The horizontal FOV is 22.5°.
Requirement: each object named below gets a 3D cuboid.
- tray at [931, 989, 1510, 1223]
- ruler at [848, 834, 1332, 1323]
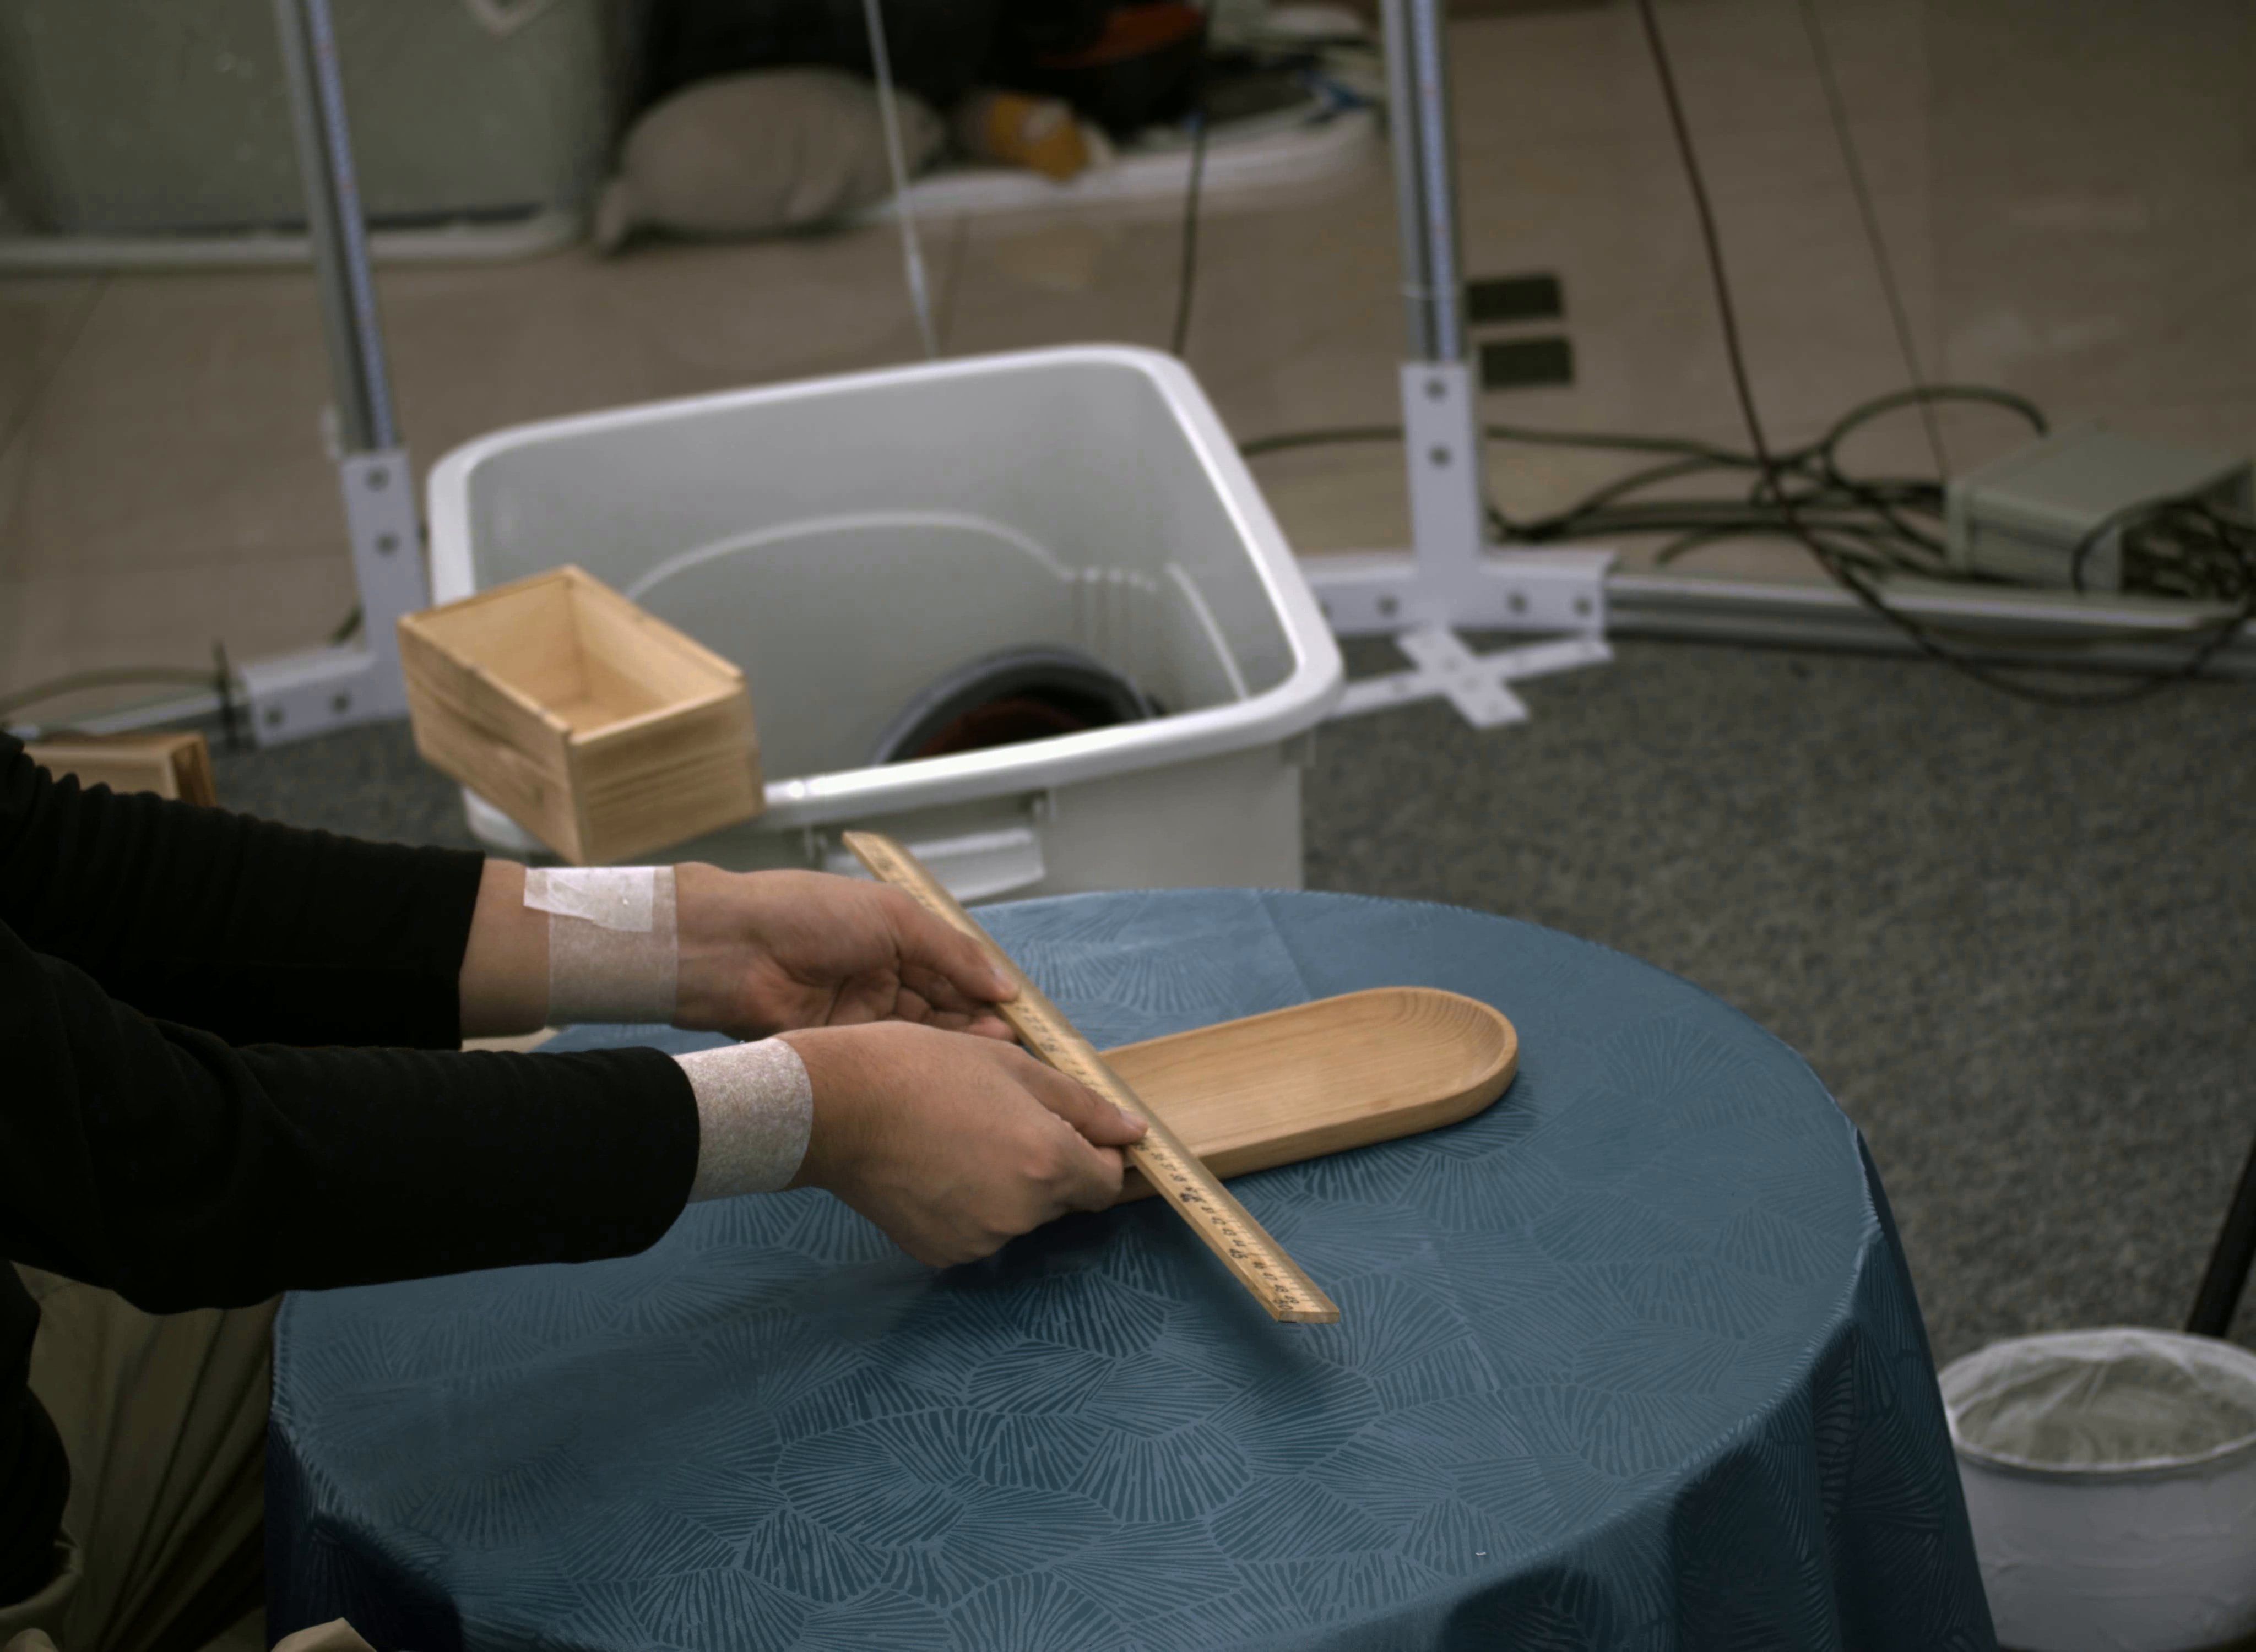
[{"bbox_3d":[0.037,0.108,2.186,0.230,0.020,0.100,-15,25,-14],"label":"tray"},{"bbox_3d":[-0.025,0.089,2.208,0.027,0.006,0.494,2,19,-22],"label":"ruler"}]
